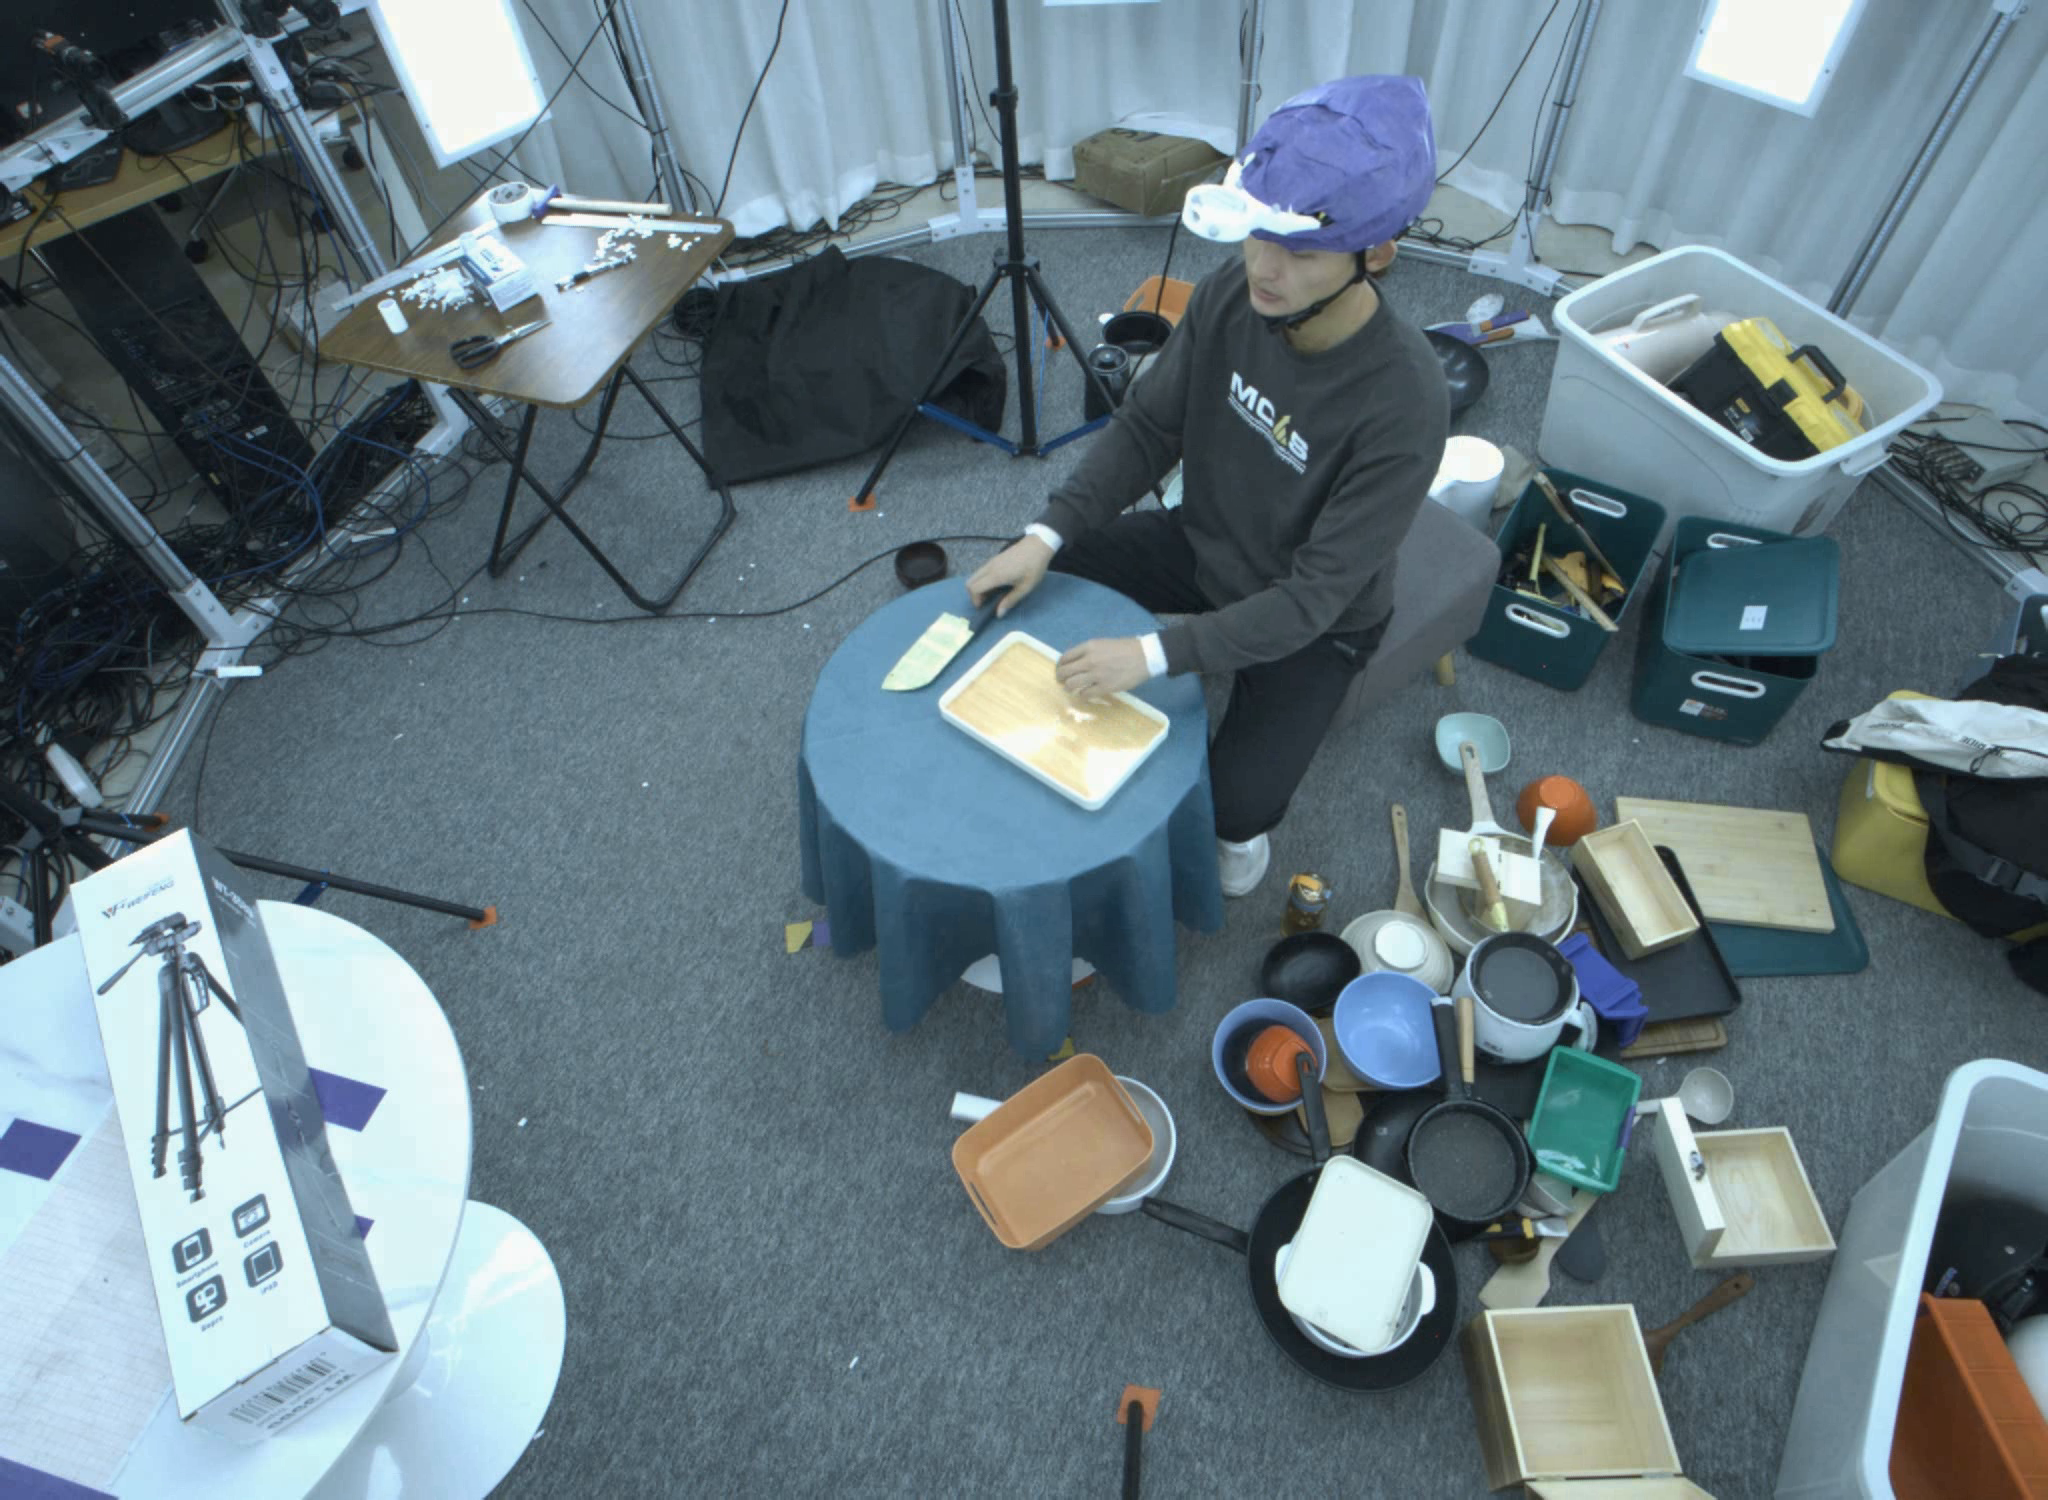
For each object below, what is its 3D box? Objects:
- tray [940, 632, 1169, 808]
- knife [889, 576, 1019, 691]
[{"bbox_3d":[0.043,-0.050,1.813,0.295,0.027,0.193,33,60,22],"label":"tray"},{"bbox_3d":[-0.110,-0.186,1.922,0.079,0.027,0.291,30,61,25],"label":"knife"}]
